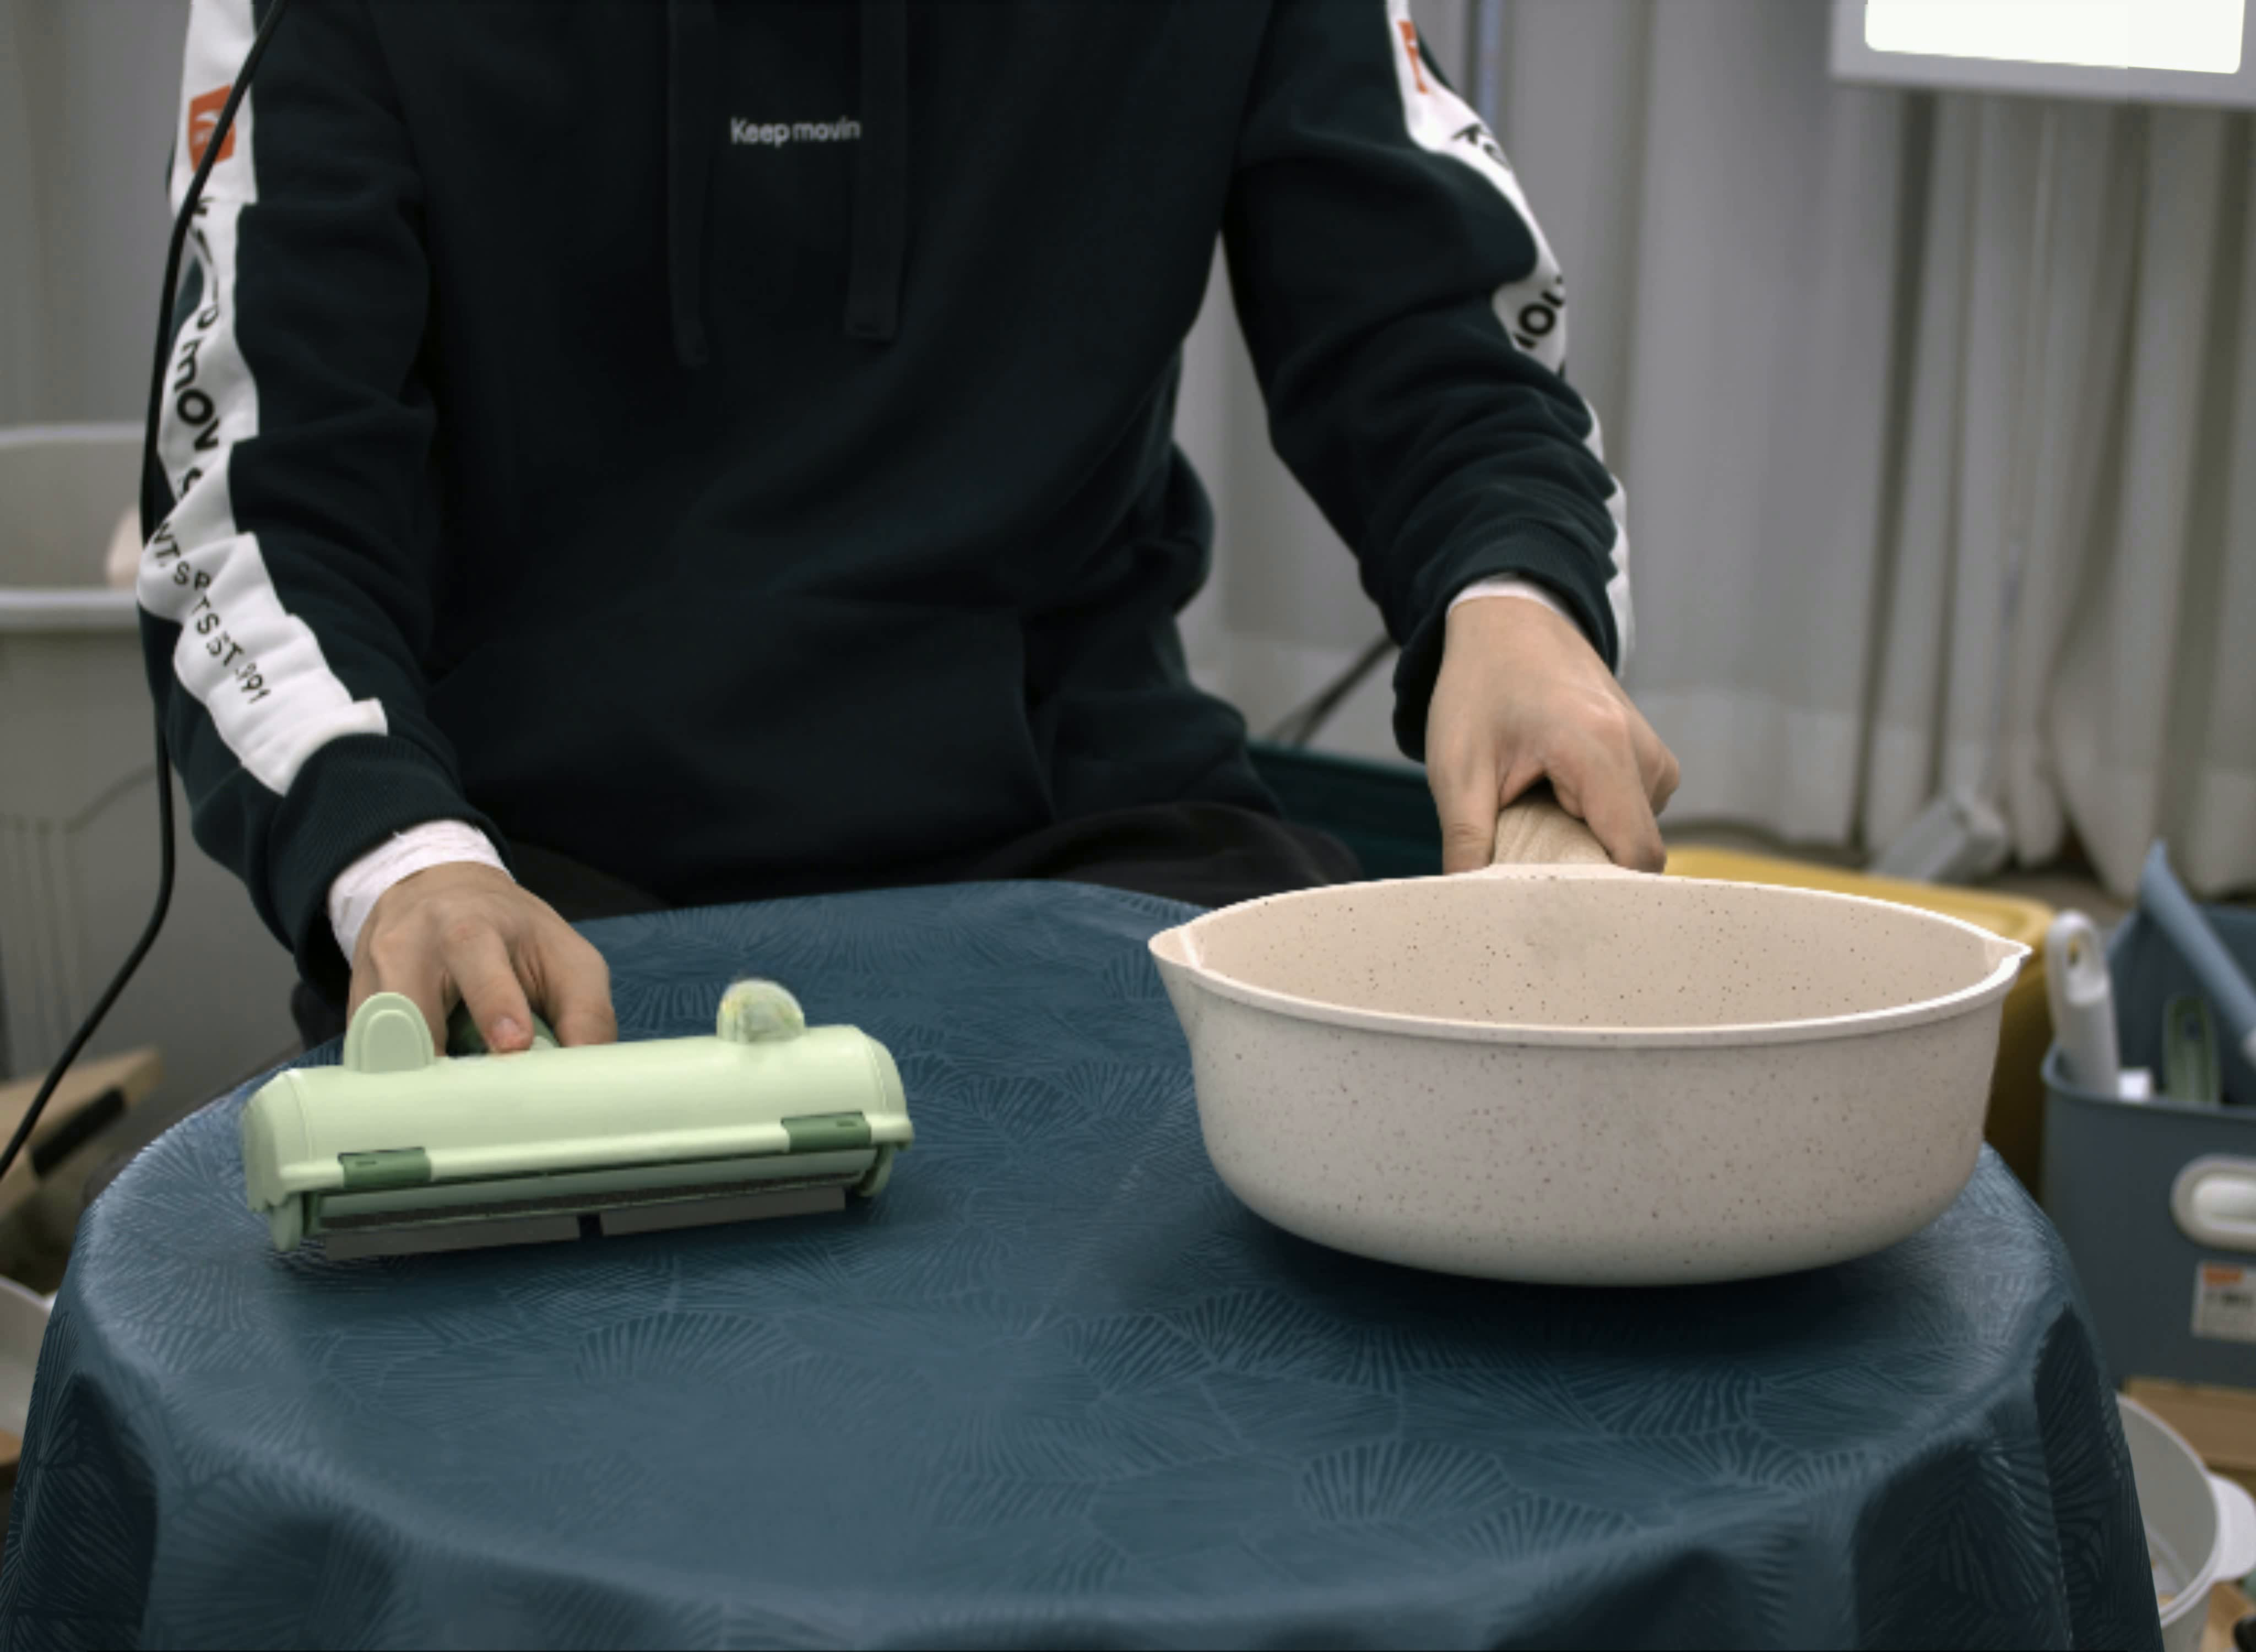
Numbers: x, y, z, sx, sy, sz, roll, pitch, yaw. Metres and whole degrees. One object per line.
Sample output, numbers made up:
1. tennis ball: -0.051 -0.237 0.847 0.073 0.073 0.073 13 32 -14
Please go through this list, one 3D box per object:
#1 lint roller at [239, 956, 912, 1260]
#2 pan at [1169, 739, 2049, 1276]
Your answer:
1. lint roller: -0.185 0.065 1.618 0.199 0.083 0.181 -5 24 -22
2. pan: 0.142 0.052 1.657 0.262 0.102 0.433 -1 9 -1
